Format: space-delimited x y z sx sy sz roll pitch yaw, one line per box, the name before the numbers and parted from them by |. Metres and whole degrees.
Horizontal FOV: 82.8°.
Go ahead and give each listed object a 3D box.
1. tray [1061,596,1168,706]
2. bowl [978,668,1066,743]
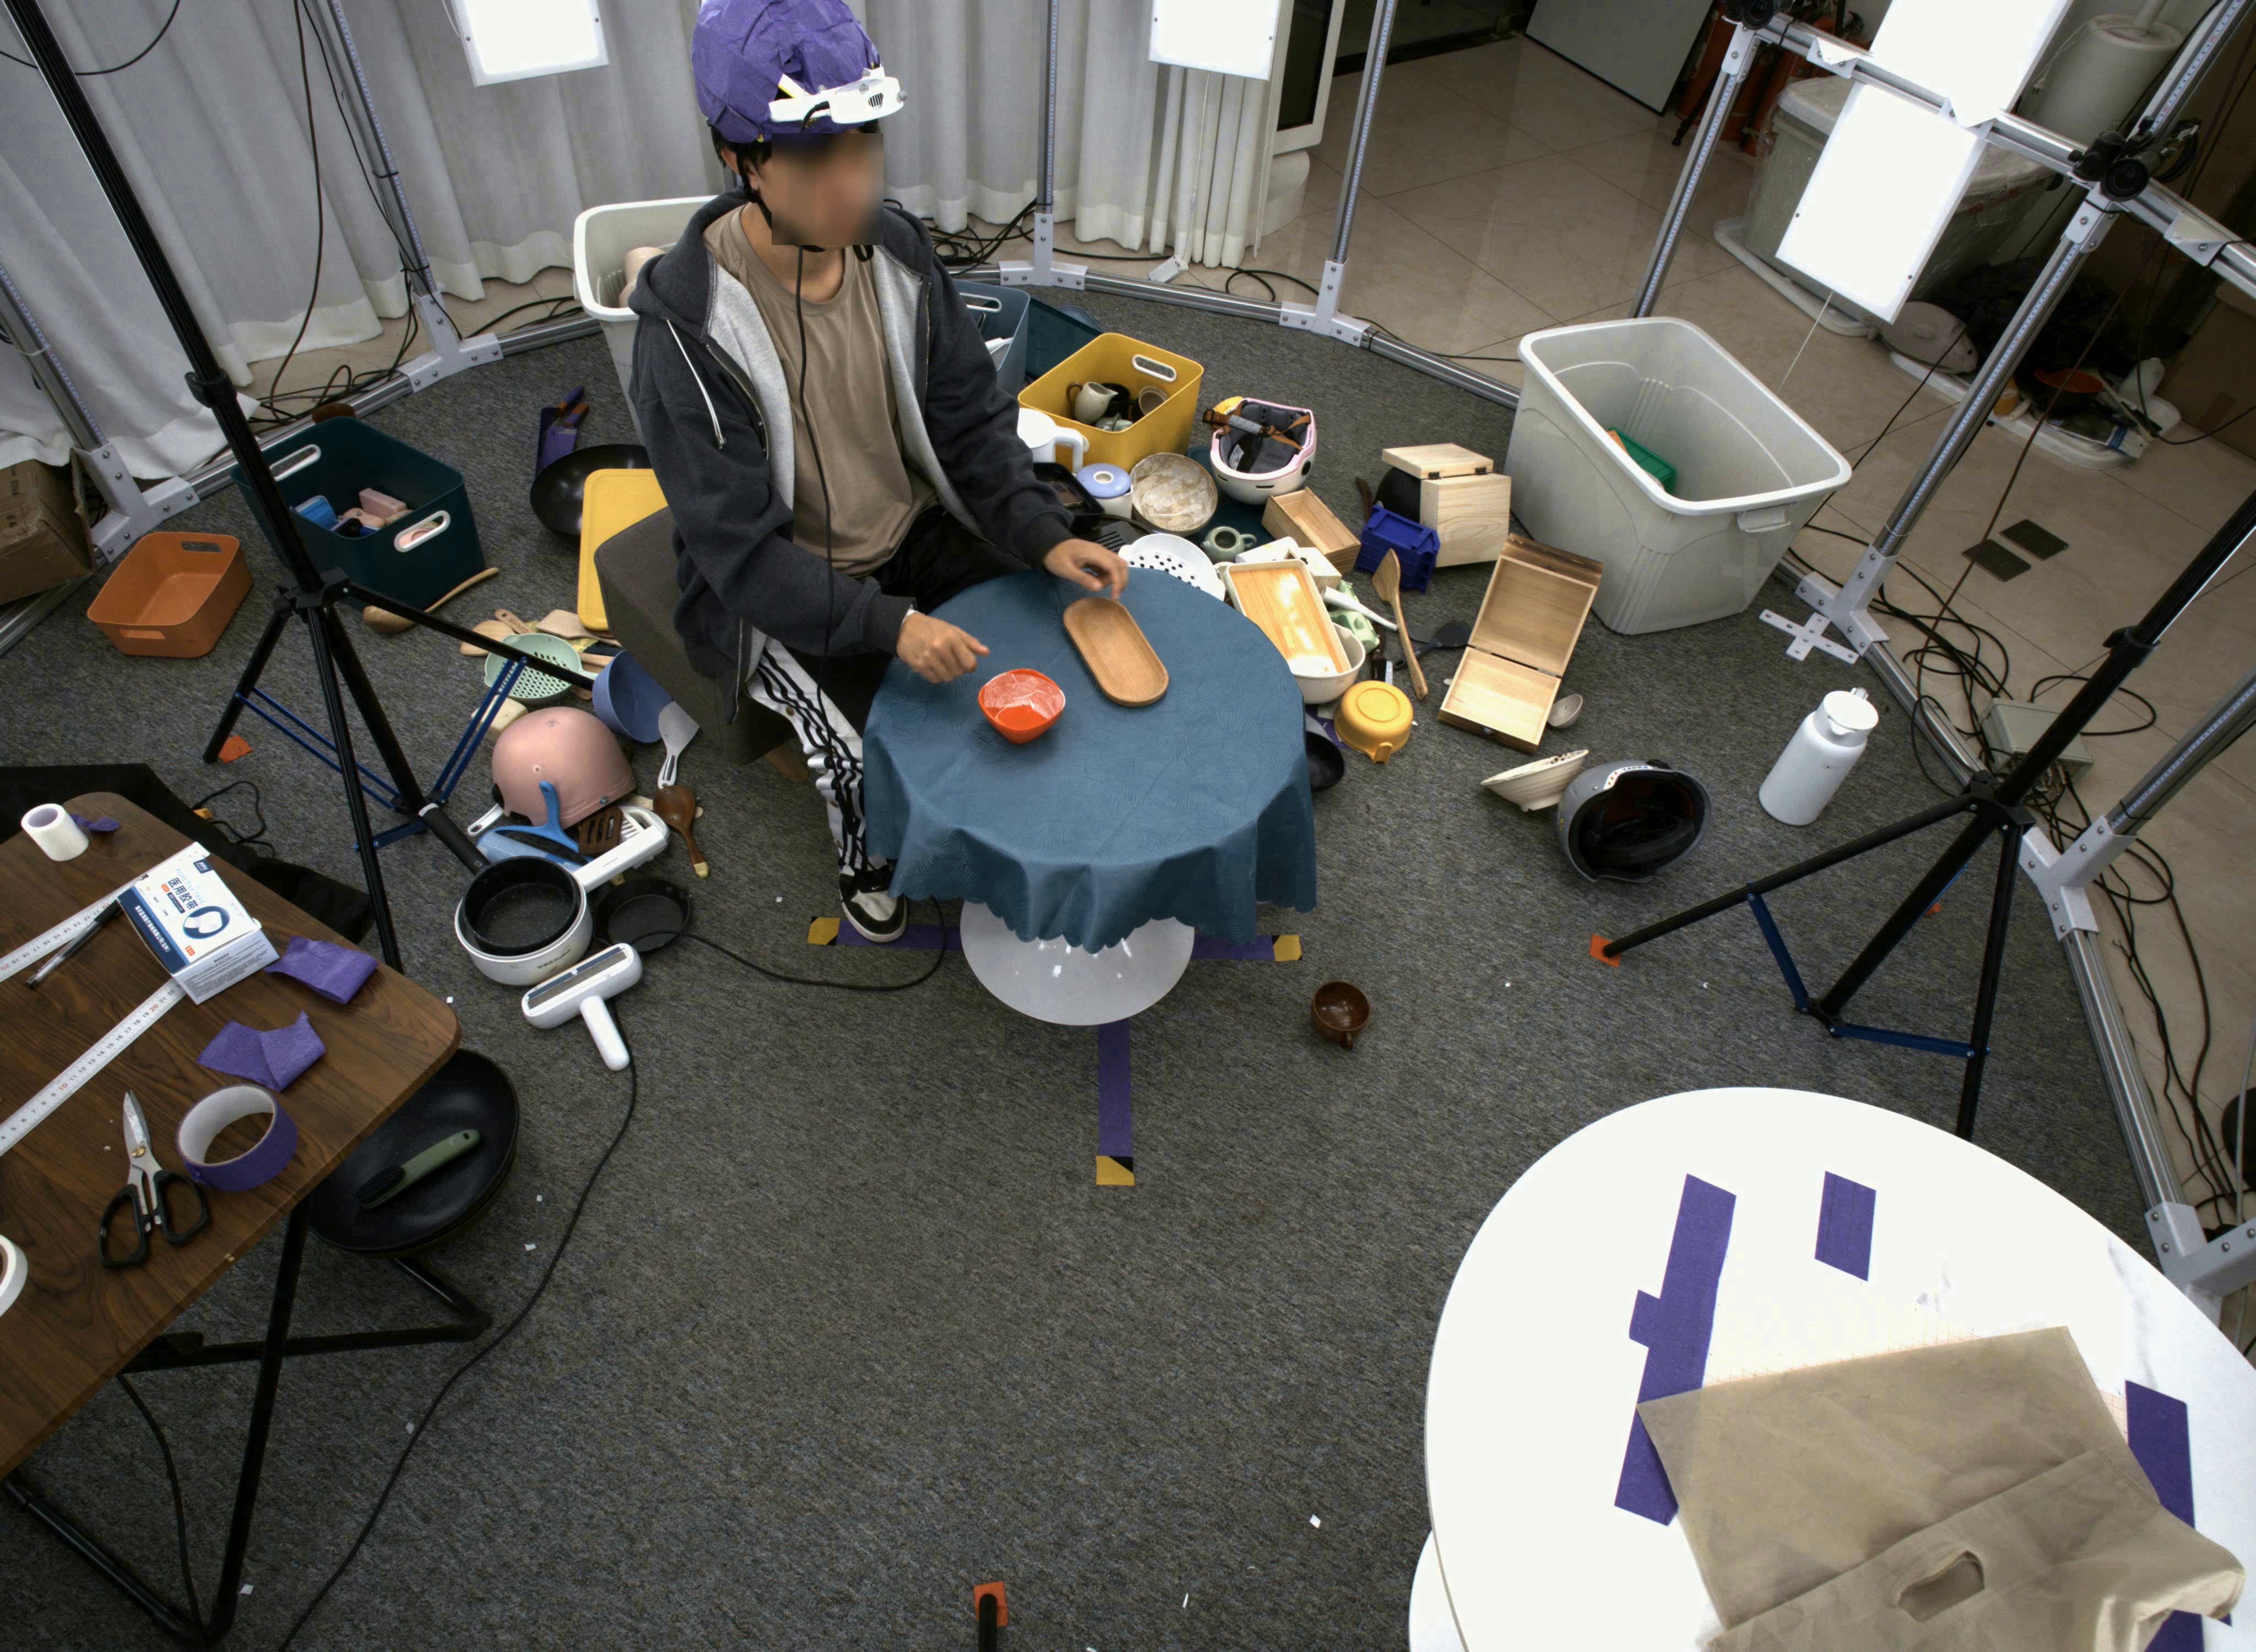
tray | -0.021 -0.258 1.879 0.102 0.020 0.236 -17 51 -19
bowl | -0.146 -0.159 1.760 0.119 0.050 0.122 2 50 -2
